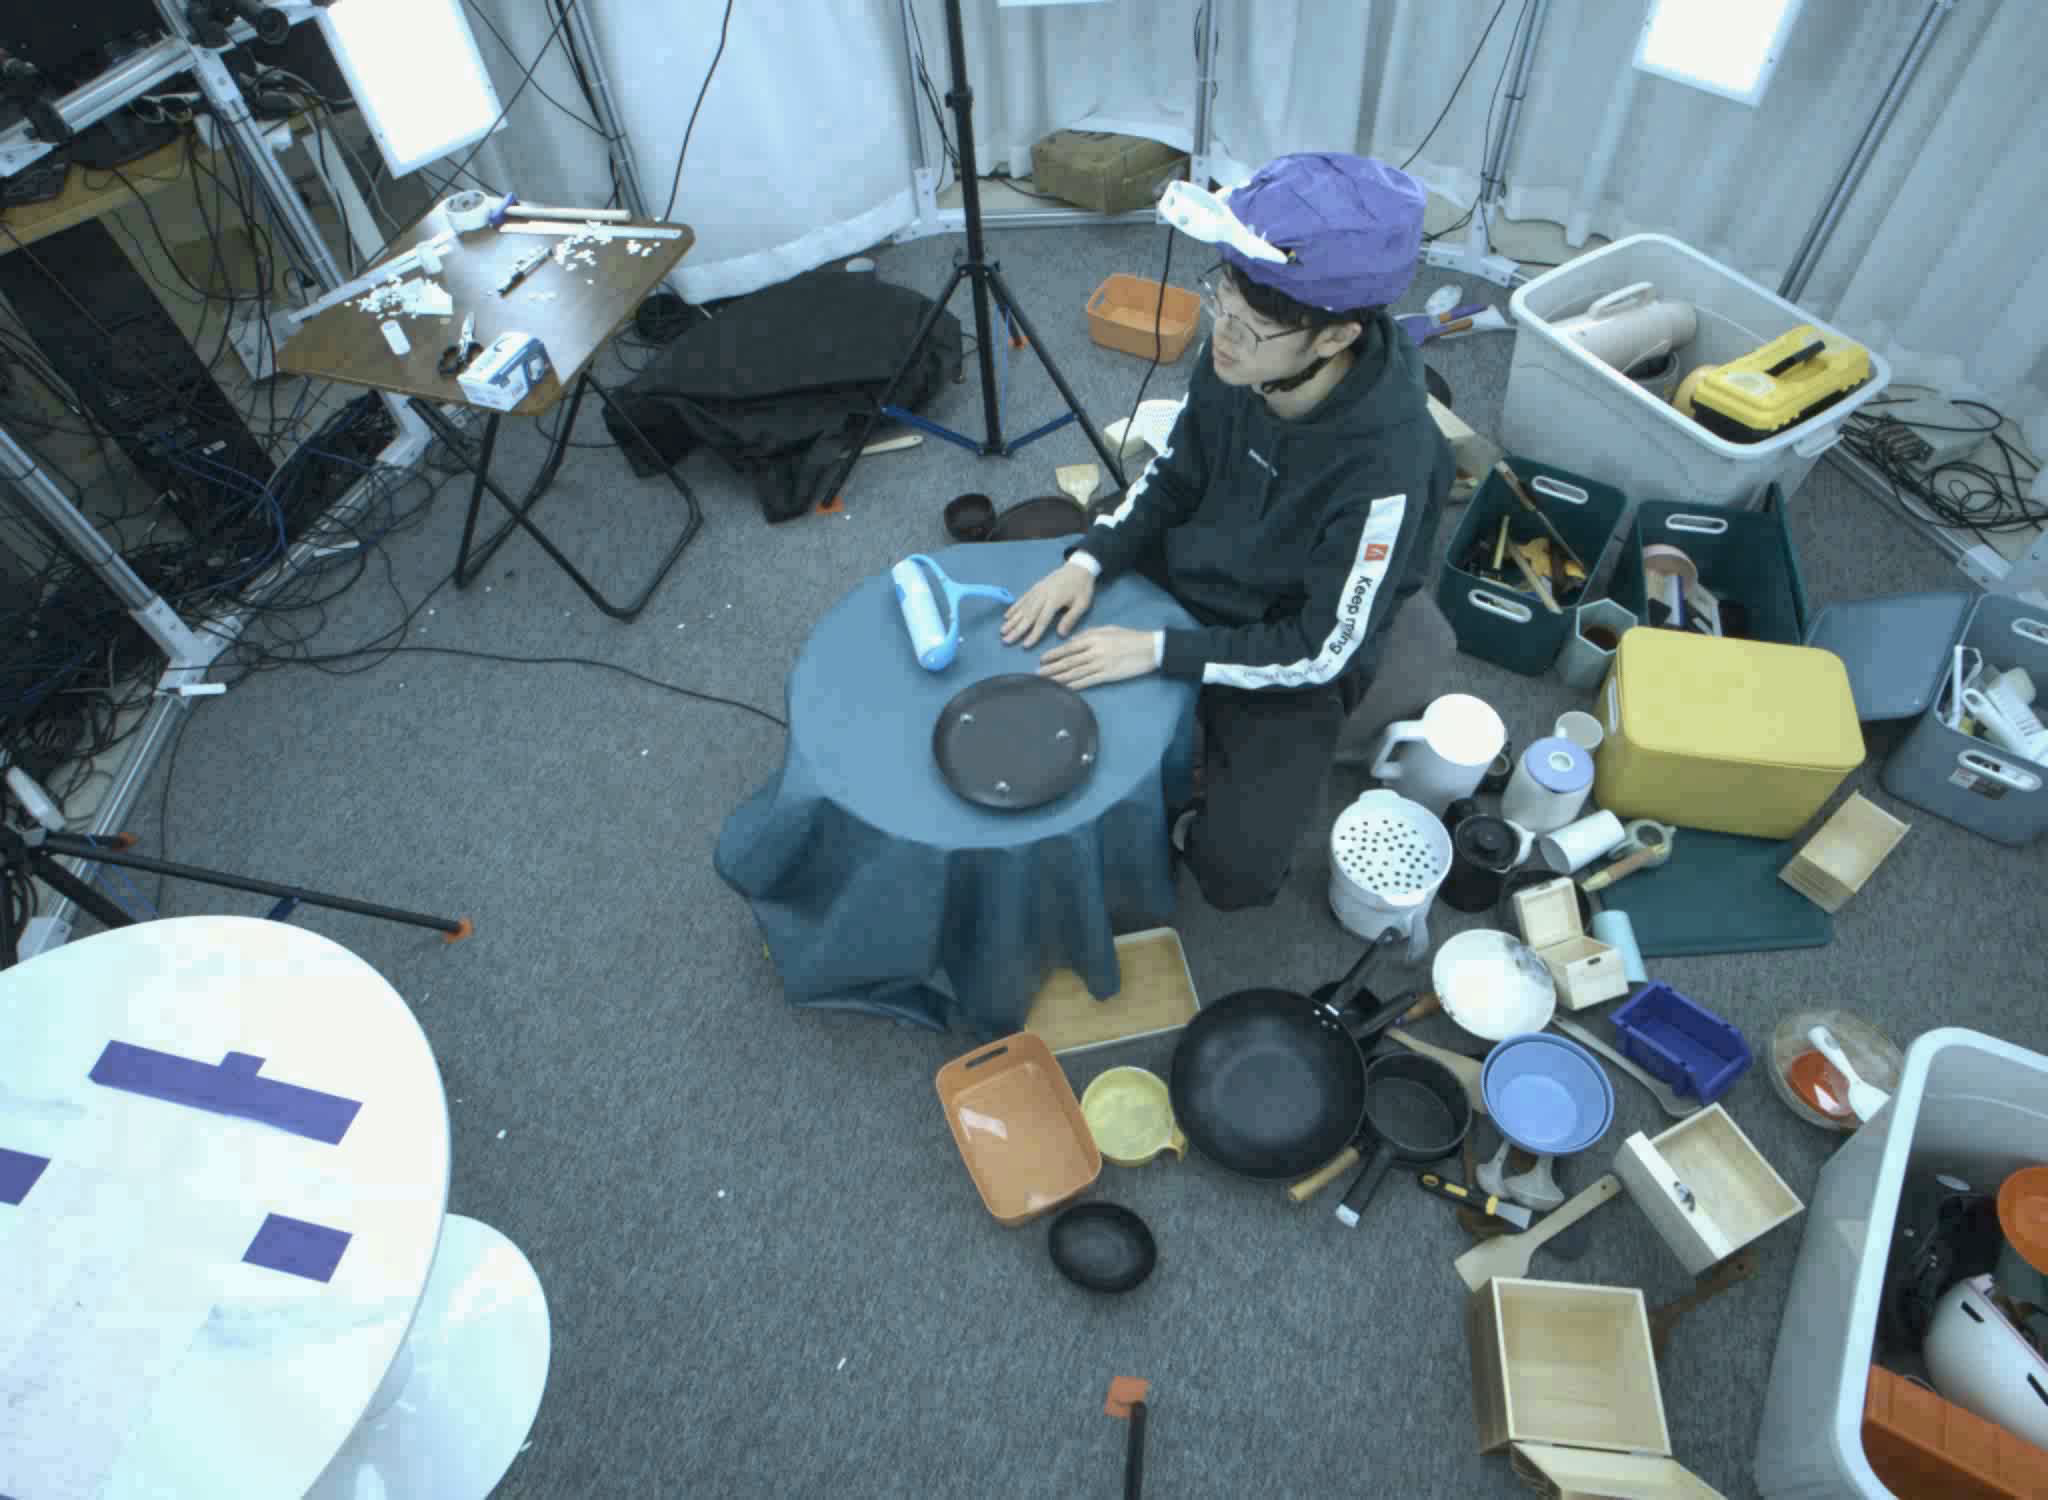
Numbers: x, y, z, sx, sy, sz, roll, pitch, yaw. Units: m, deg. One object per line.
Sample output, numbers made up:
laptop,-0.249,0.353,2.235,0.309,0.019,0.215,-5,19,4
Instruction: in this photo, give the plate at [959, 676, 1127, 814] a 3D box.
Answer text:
plate,0.027,-0.006,1.772,0.244,0.024,0.242,0,55,2

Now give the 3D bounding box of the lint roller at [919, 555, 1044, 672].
lint roller,-0.059,-0.228,1.912,0.181,0.068,0.225,-16,55,-9
